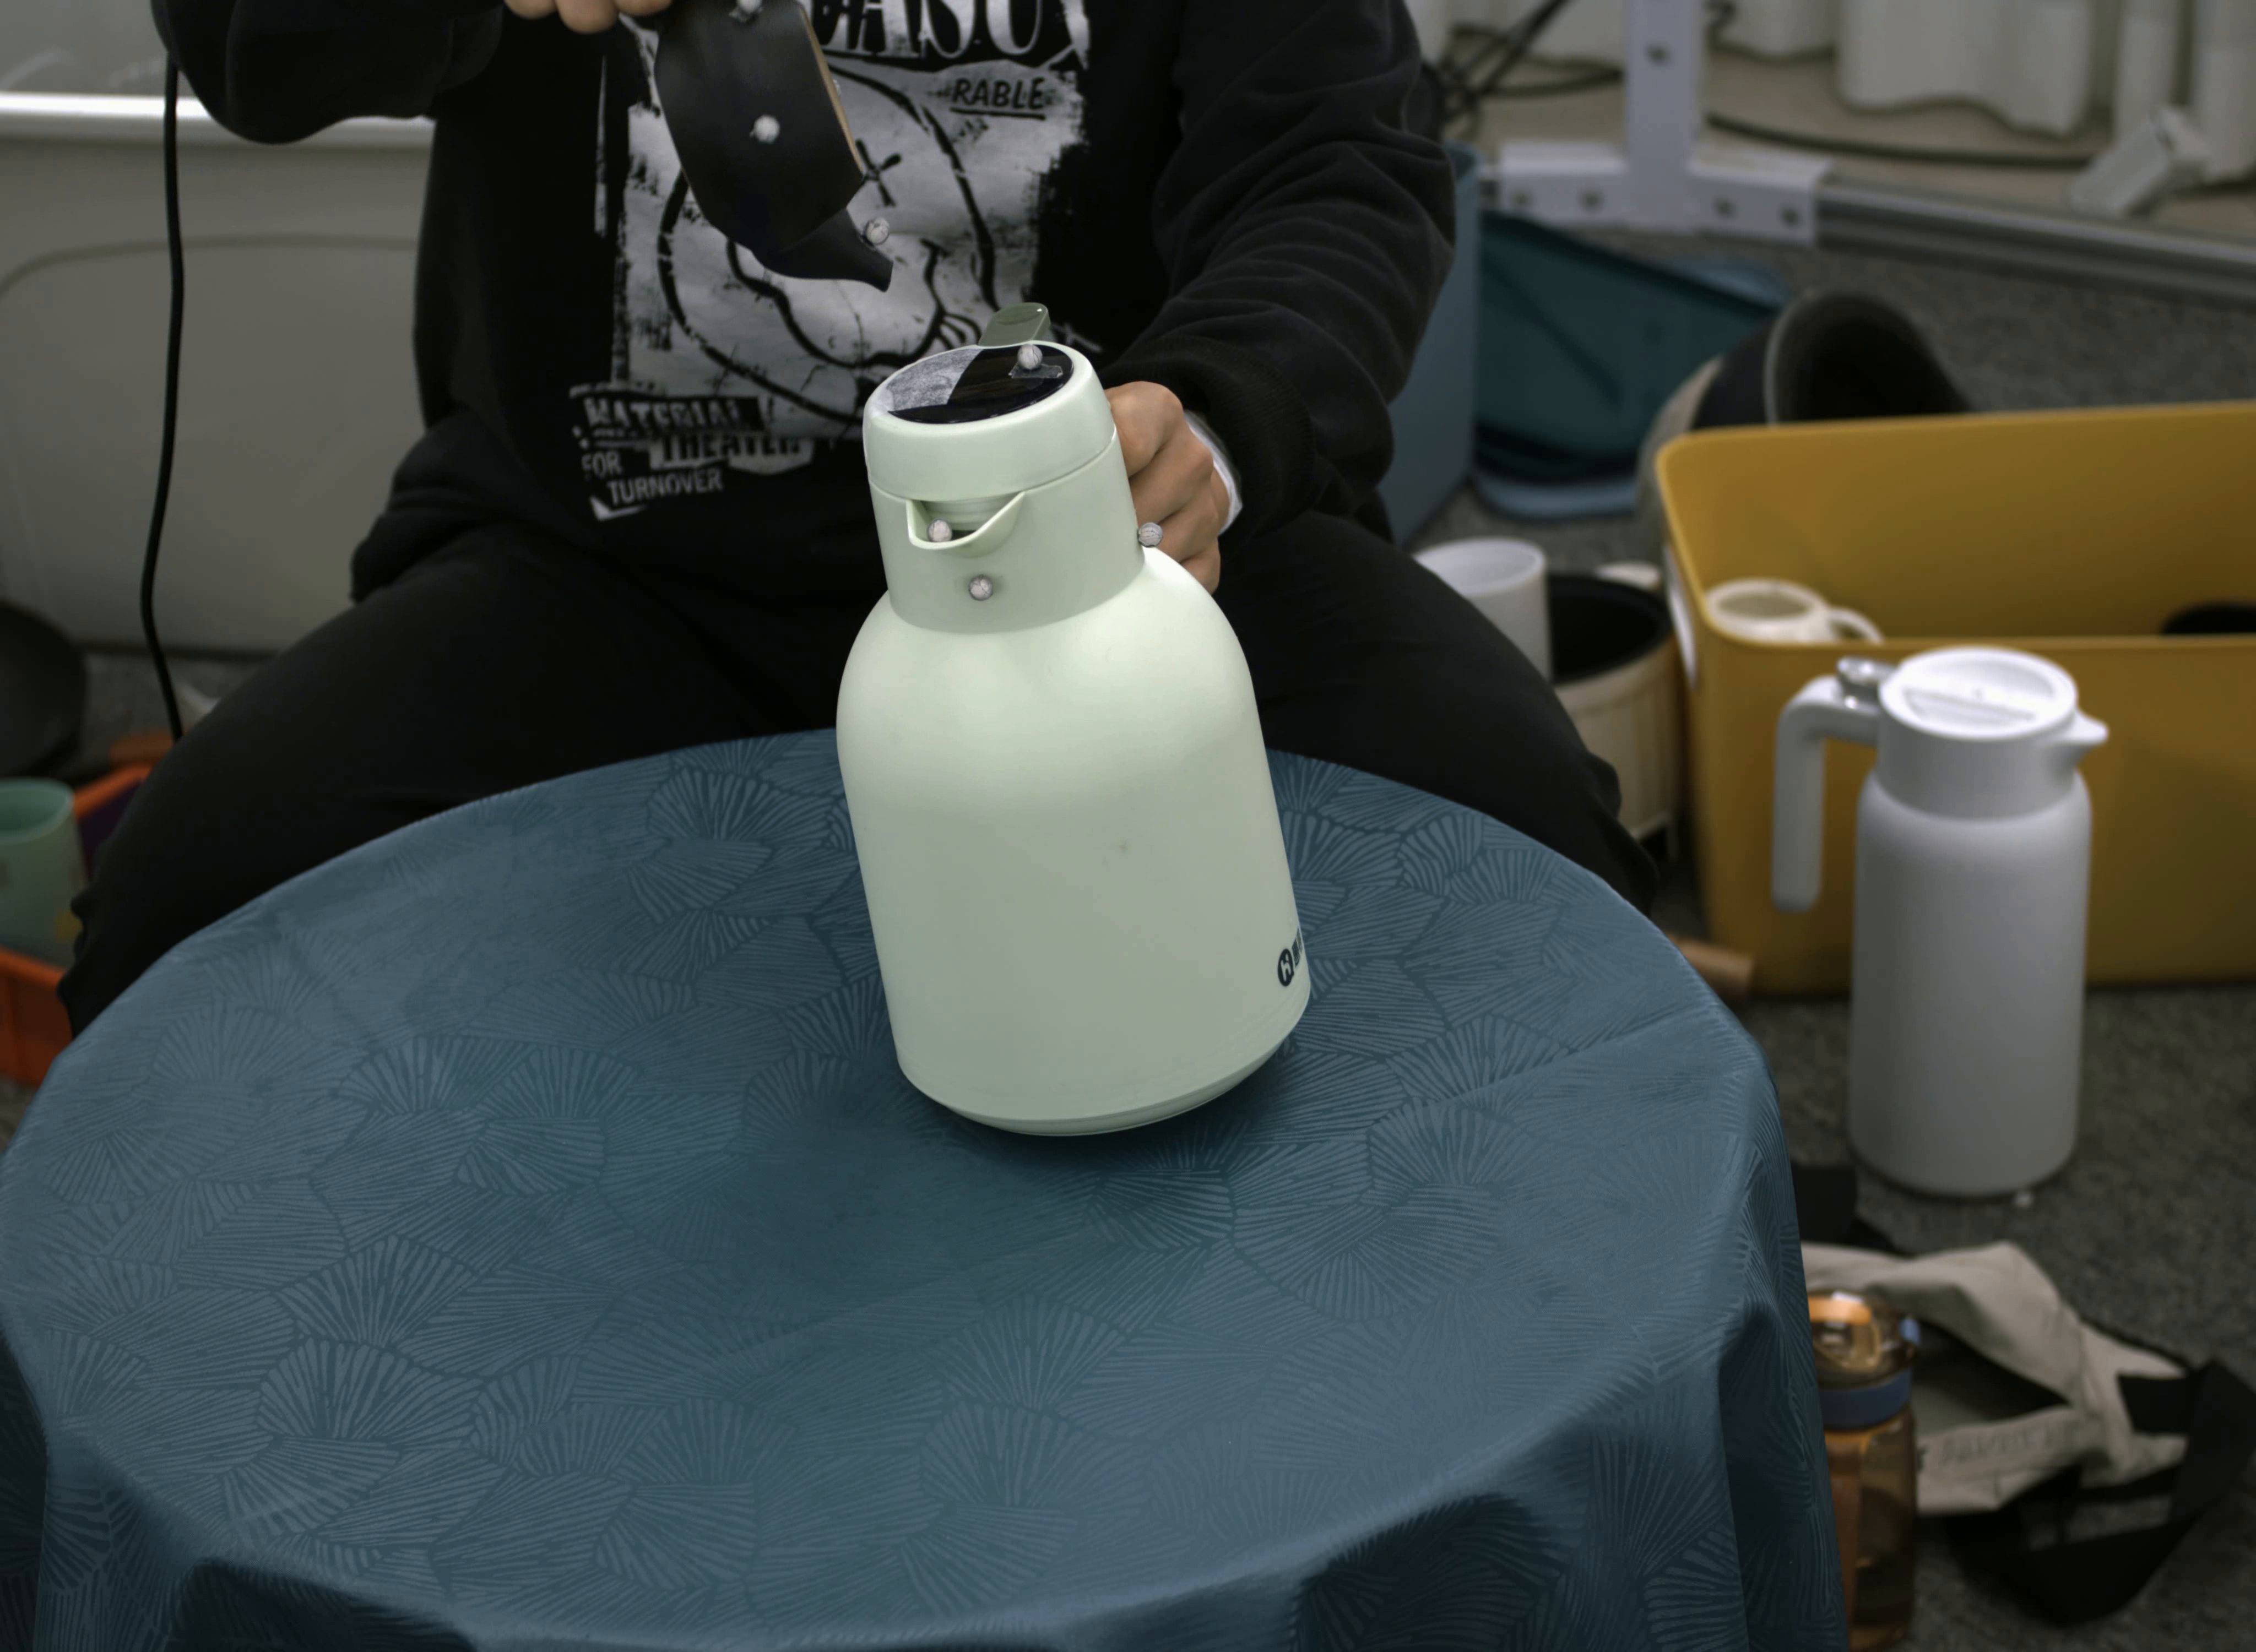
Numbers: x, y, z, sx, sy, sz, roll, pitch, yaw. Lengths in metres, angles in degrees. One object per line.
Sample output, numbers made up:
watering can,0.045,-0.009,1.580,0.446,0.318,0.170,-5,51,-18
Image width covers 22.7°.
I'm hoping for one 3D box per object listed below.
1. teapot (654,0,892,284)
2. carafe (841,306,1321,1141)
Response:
teapot,-0.120,-0.232,1.822,0.053,0.133,0.091,-18,6,1
carafe,-0.023,-0.040,1.892,0.143,0.255,0.189,-6,21,15
